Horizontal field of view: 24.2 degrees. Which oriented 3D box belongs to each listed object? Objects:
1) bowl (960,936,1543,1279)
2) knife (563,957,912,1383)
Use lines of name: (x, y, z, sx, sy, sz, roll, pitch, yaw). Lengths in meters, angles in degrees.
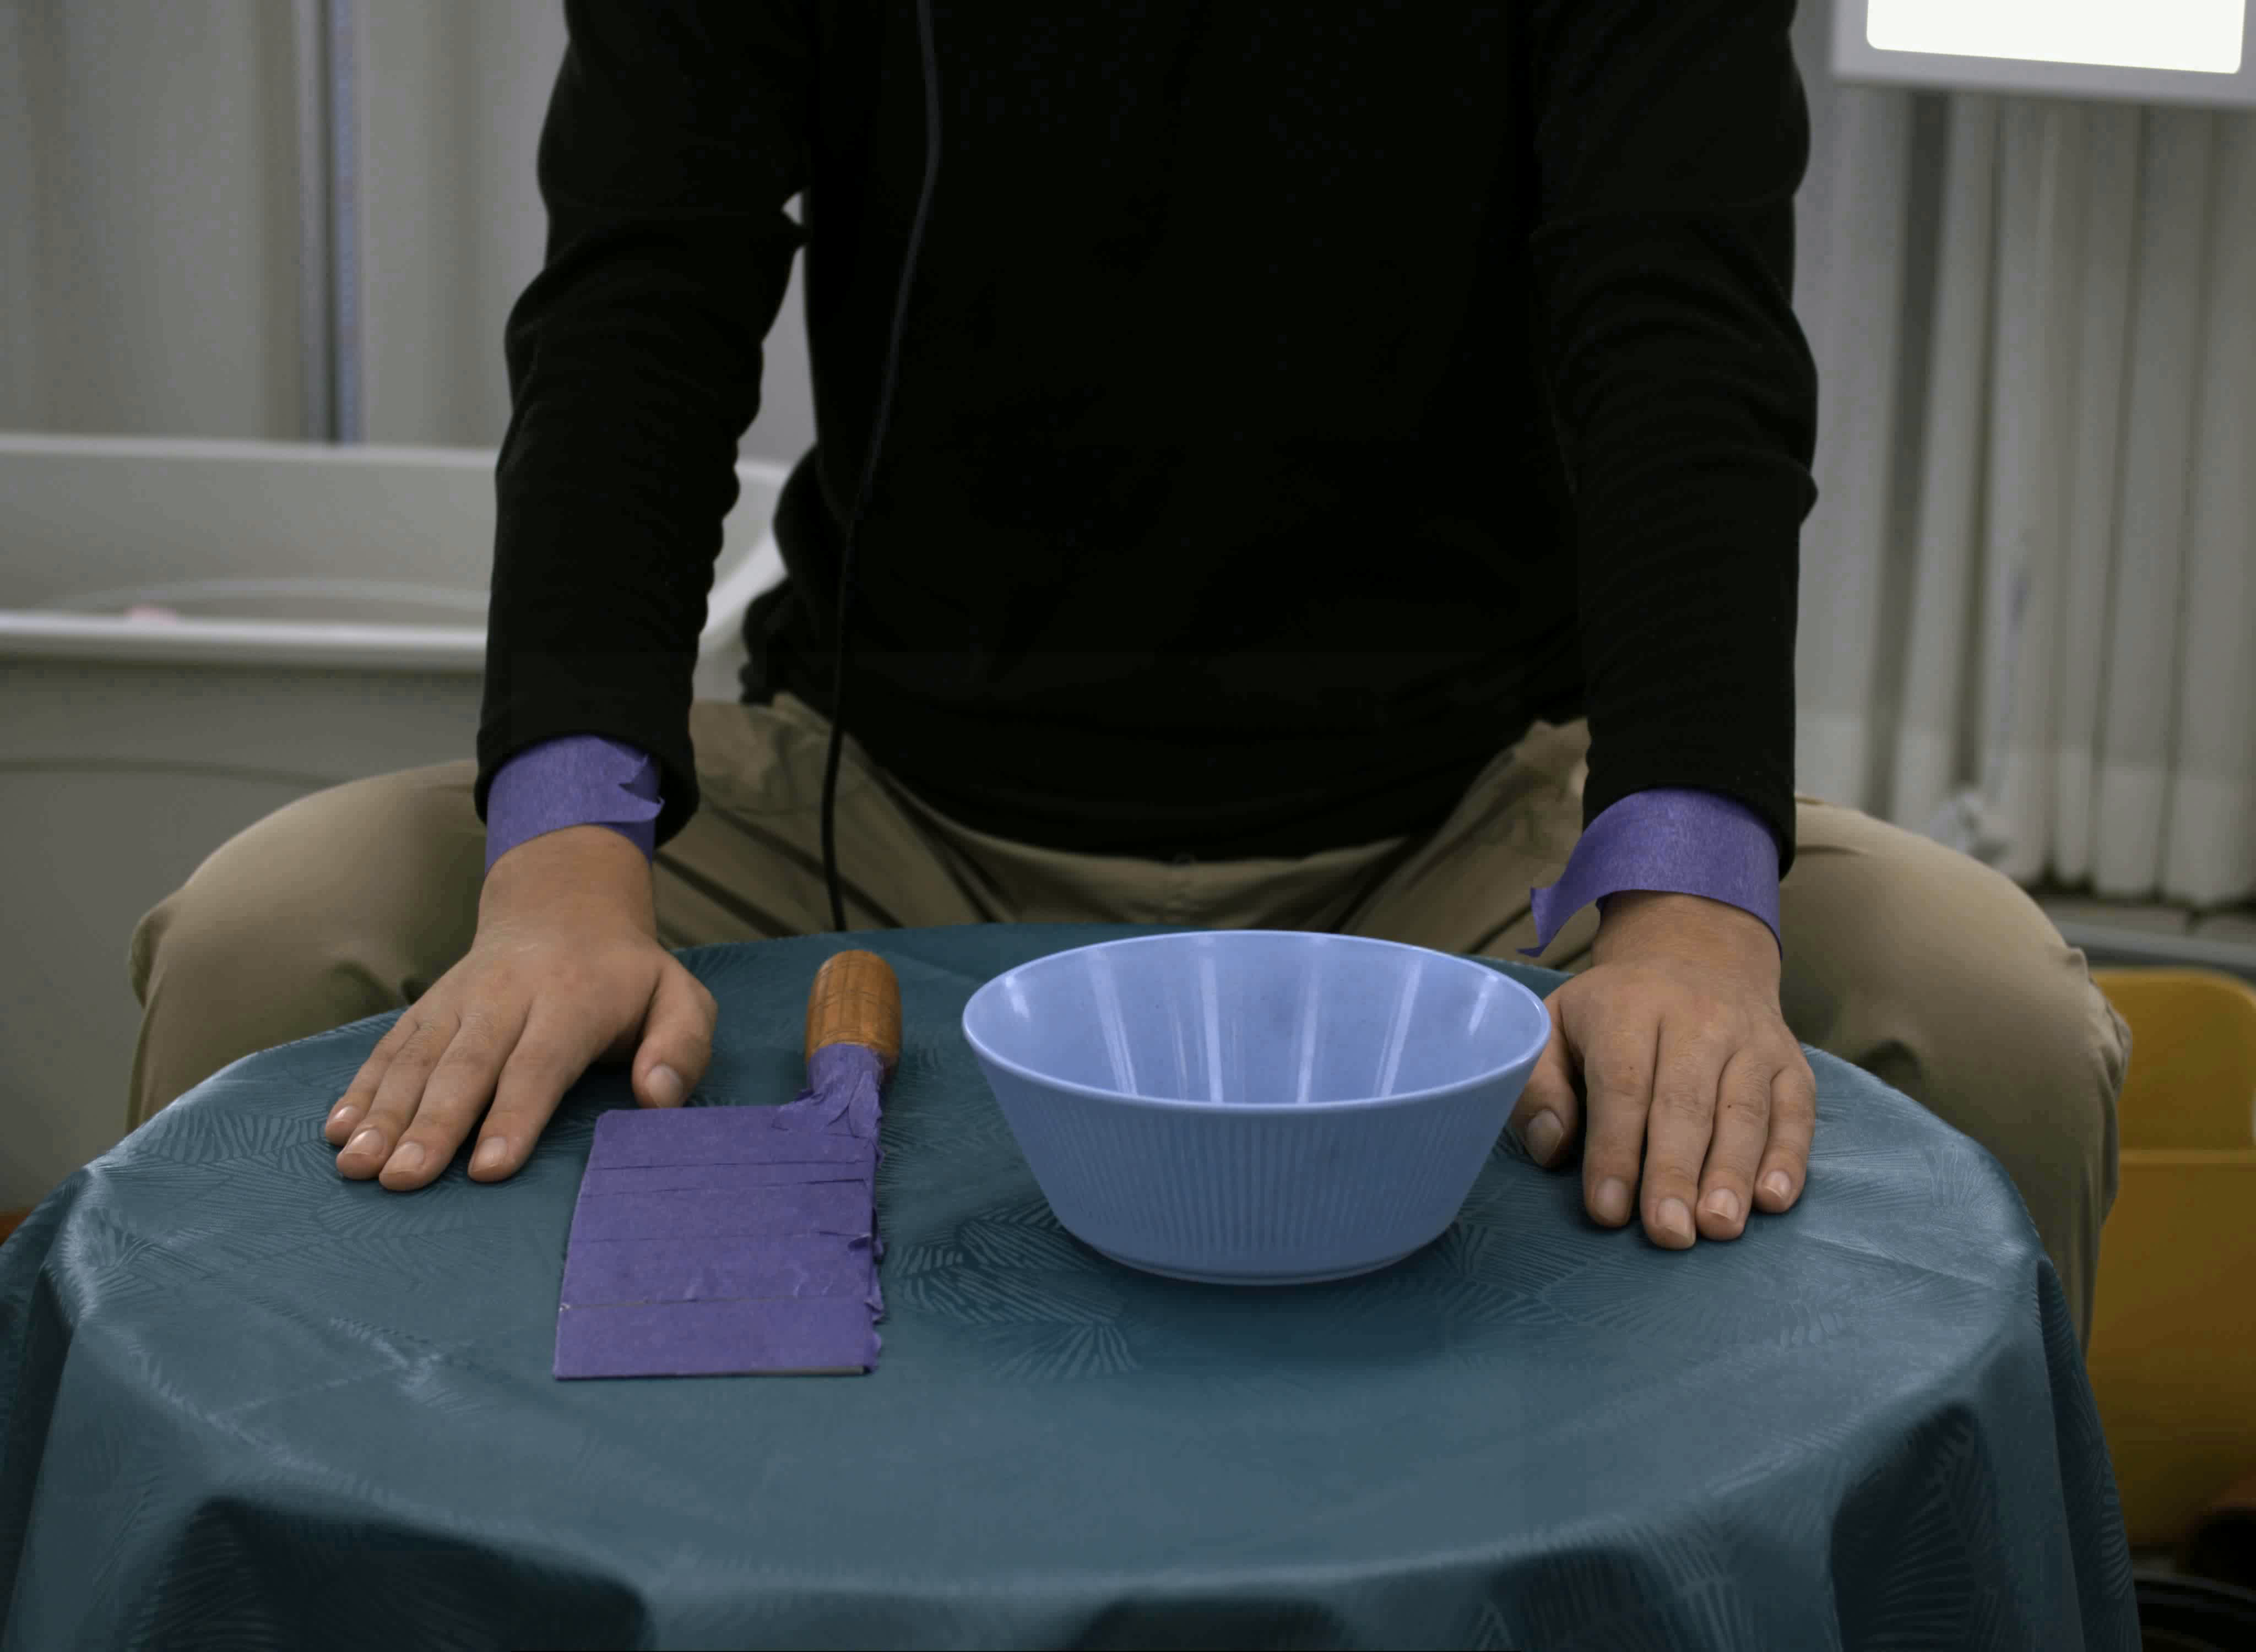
bowl: (0.037, 0.087, 1.582, 0.175, 0.071, 0.175, 1, 15, 0)
knife: (-0.118, 0.101, 1.610, 0.103, 0.032, 0.313, 0, 16, -3)
